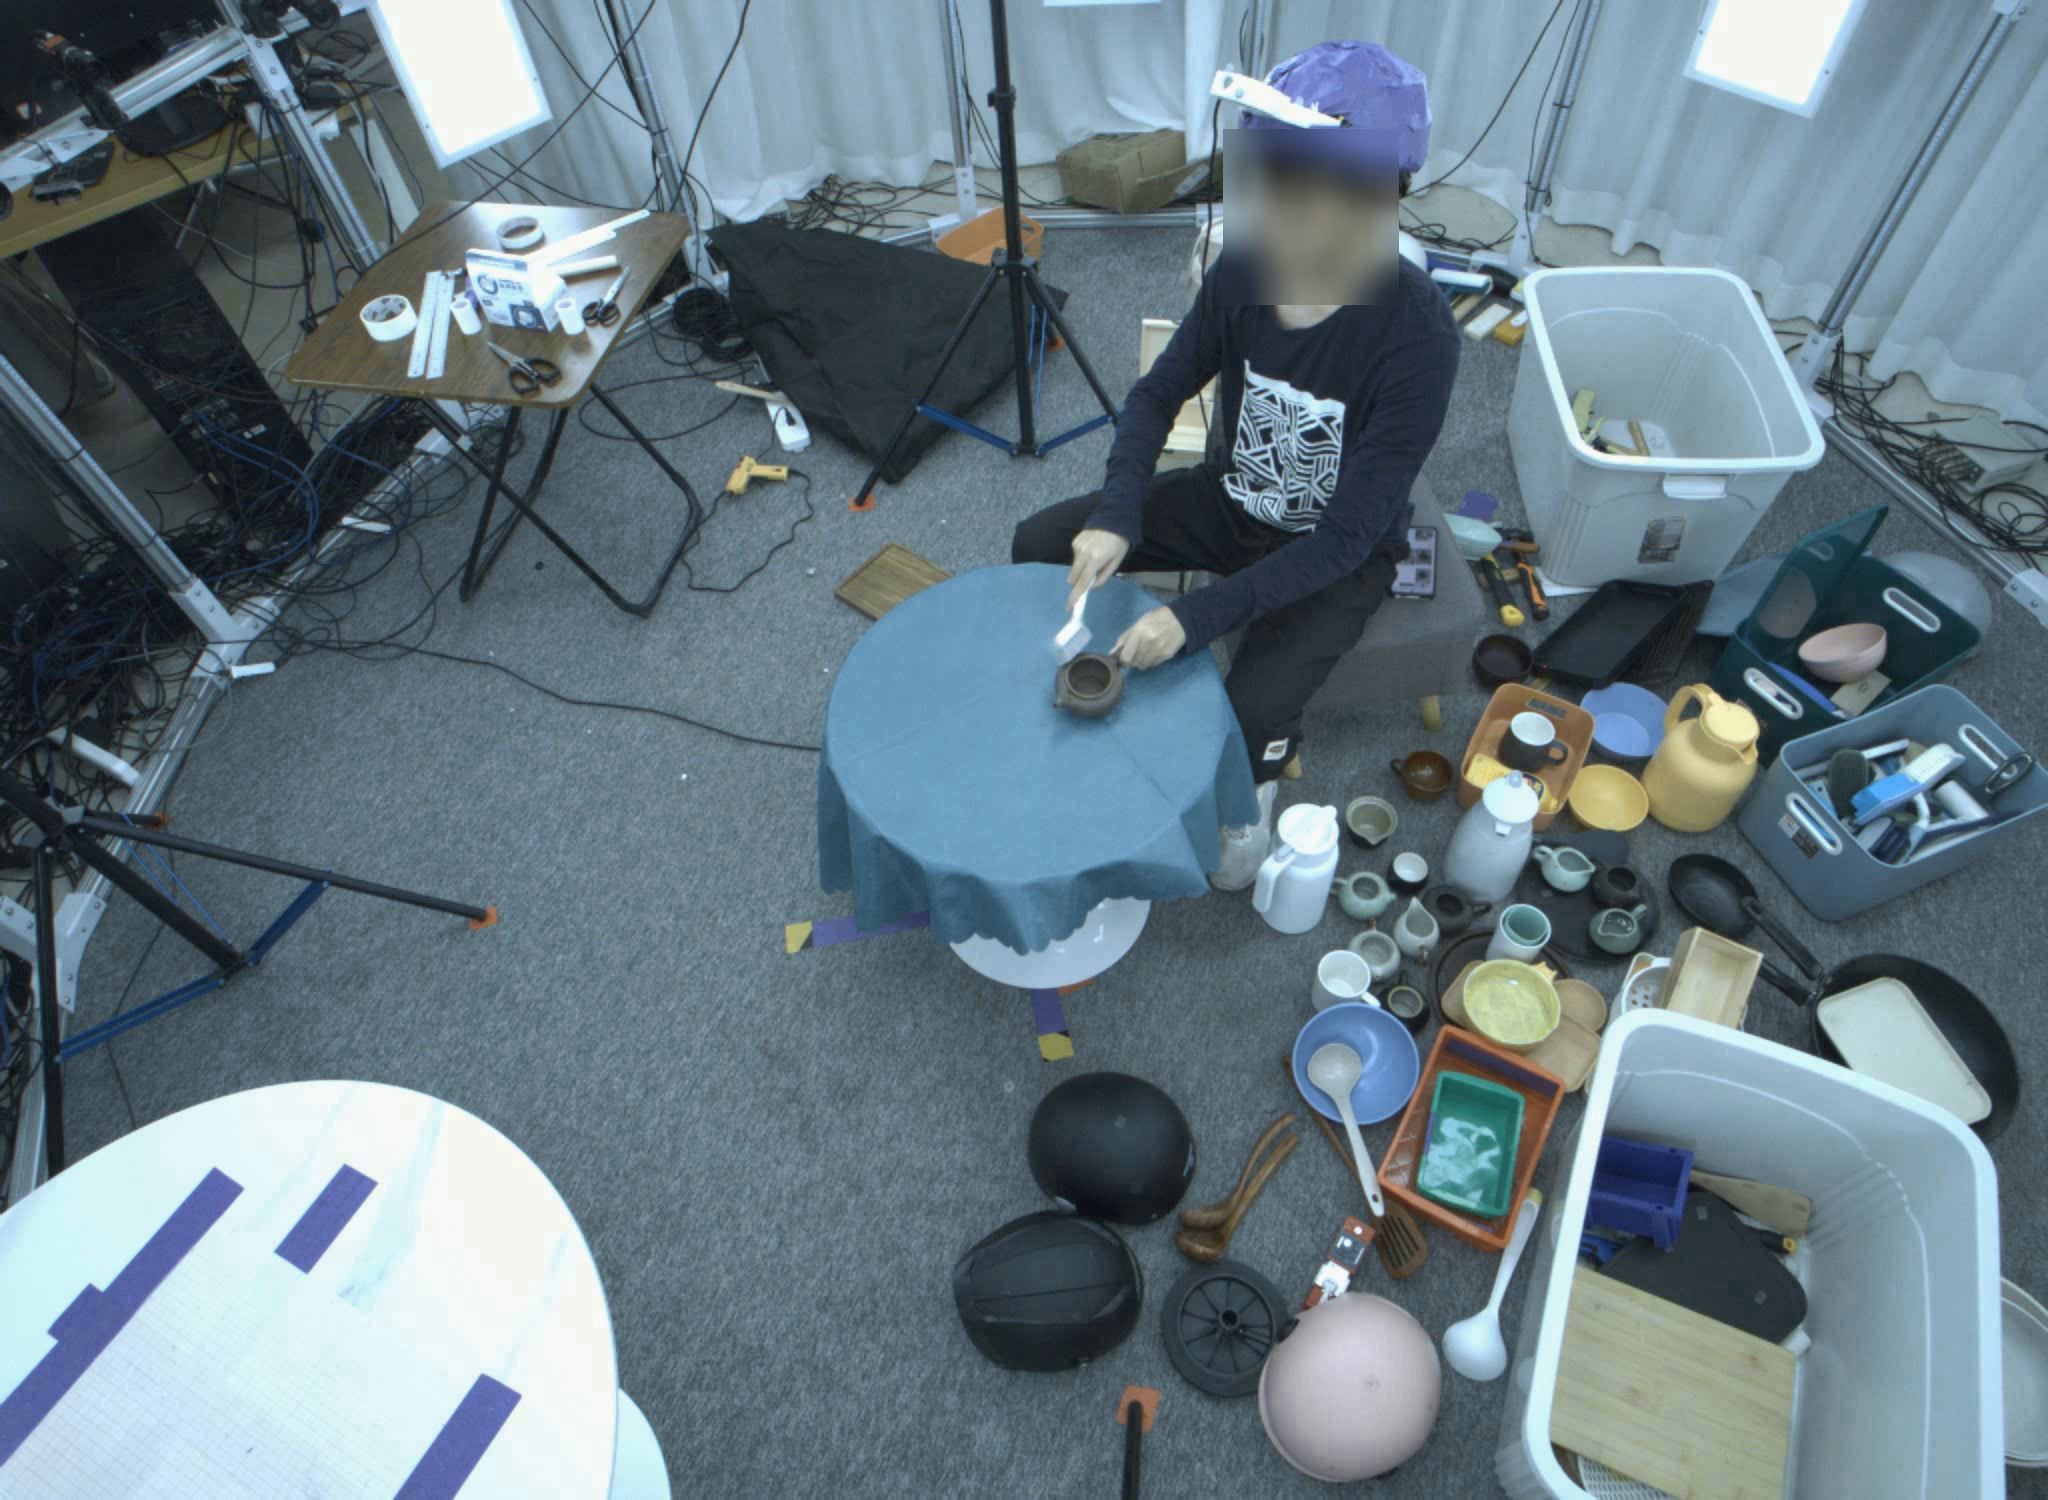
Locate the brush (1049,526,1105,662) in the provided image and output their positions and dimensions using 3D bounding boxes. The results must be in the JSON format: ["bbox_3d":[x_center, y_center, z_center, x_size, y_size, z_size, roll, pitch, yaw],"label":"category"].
[{"bbox_3d":[0.096,-0.236,1.845,0.051,0.034,0.243,31,60,-18],"label":"brush"}]

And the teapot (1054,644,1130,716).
[{"bbox_3d":[0.100,-0.101,1.809,0.101,0.054,0.154,39,72,16],"label":"teapot"}]
